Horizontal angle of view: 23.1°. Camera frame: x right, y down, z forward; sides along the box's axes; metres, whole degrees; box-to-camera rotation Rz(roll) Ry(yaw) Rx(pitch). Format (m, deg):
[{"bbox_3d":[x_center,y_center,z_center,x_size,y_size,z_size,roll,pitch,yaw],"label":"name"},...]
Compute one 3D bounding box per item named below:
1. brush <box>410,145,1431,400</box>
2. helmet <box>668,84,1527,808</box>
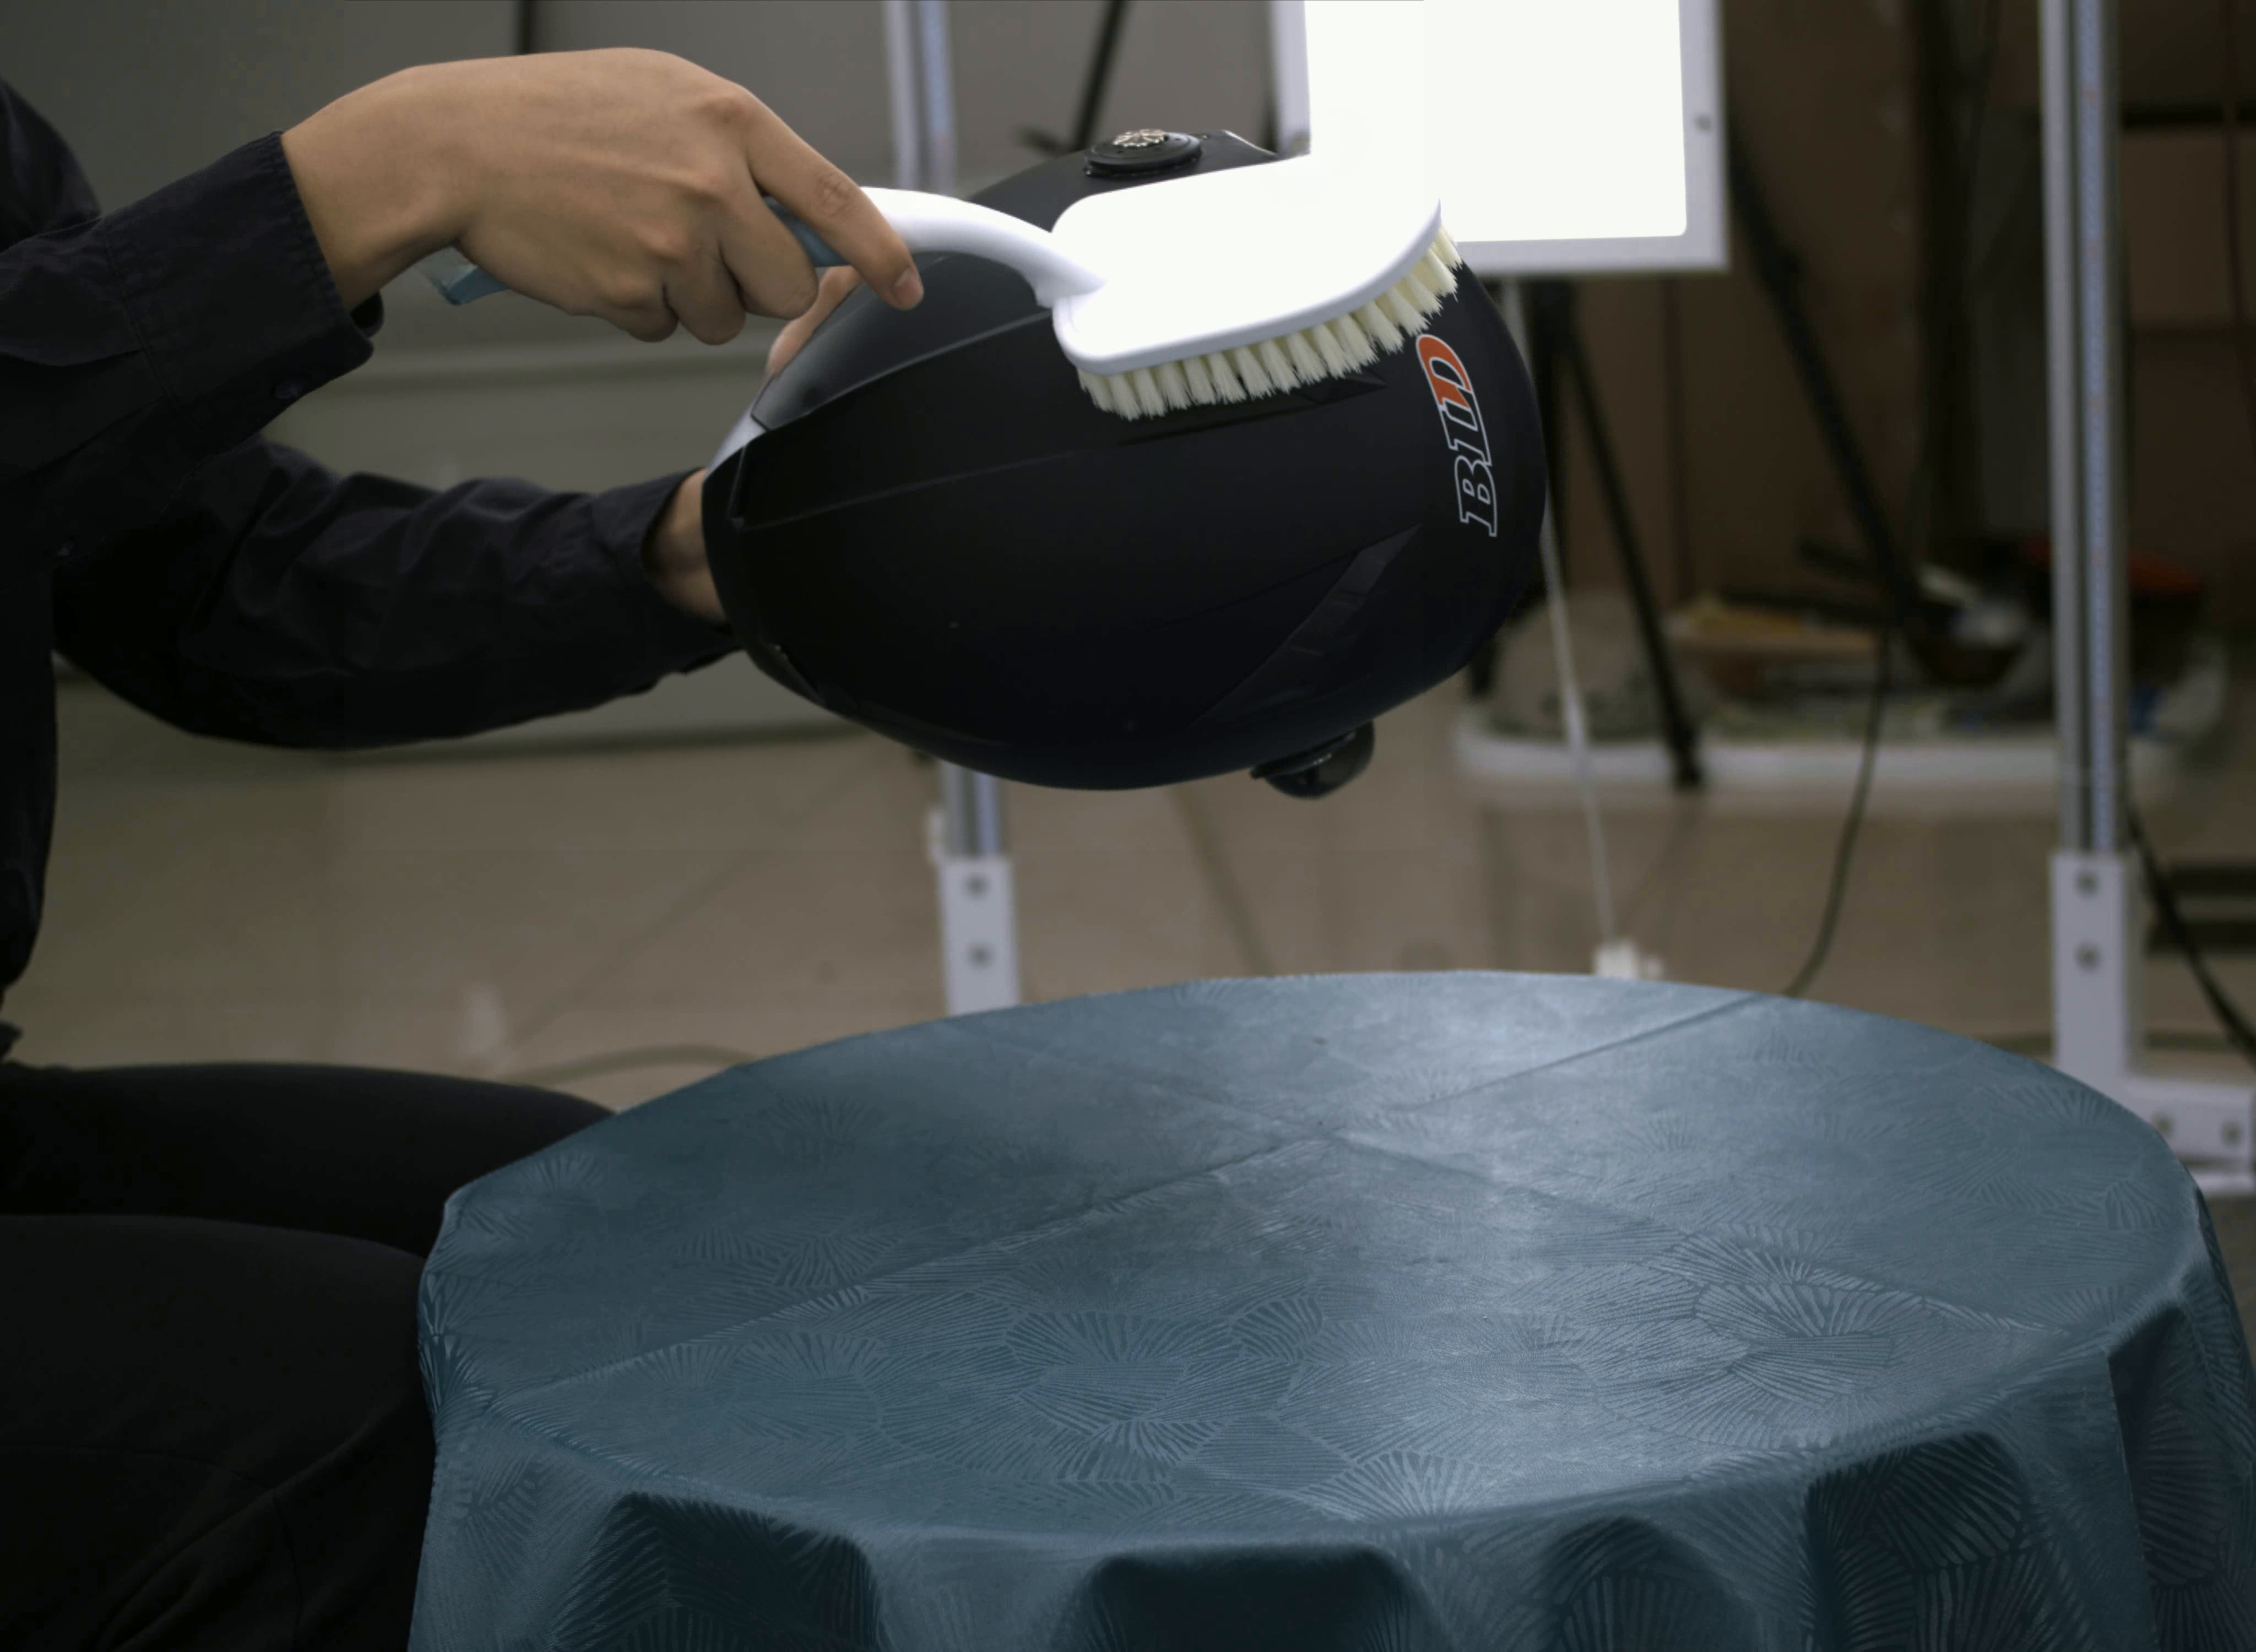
[{"bbox_3d":[-0.065,-0.177,1.763,0.325,0.085,0.083,-4,22,2],"label":"brush"},{"bbox_3d":[-0.016,-0.114,1.868,0.282,0.247,0.168,-5,18,34],"label":"helmet"}]
